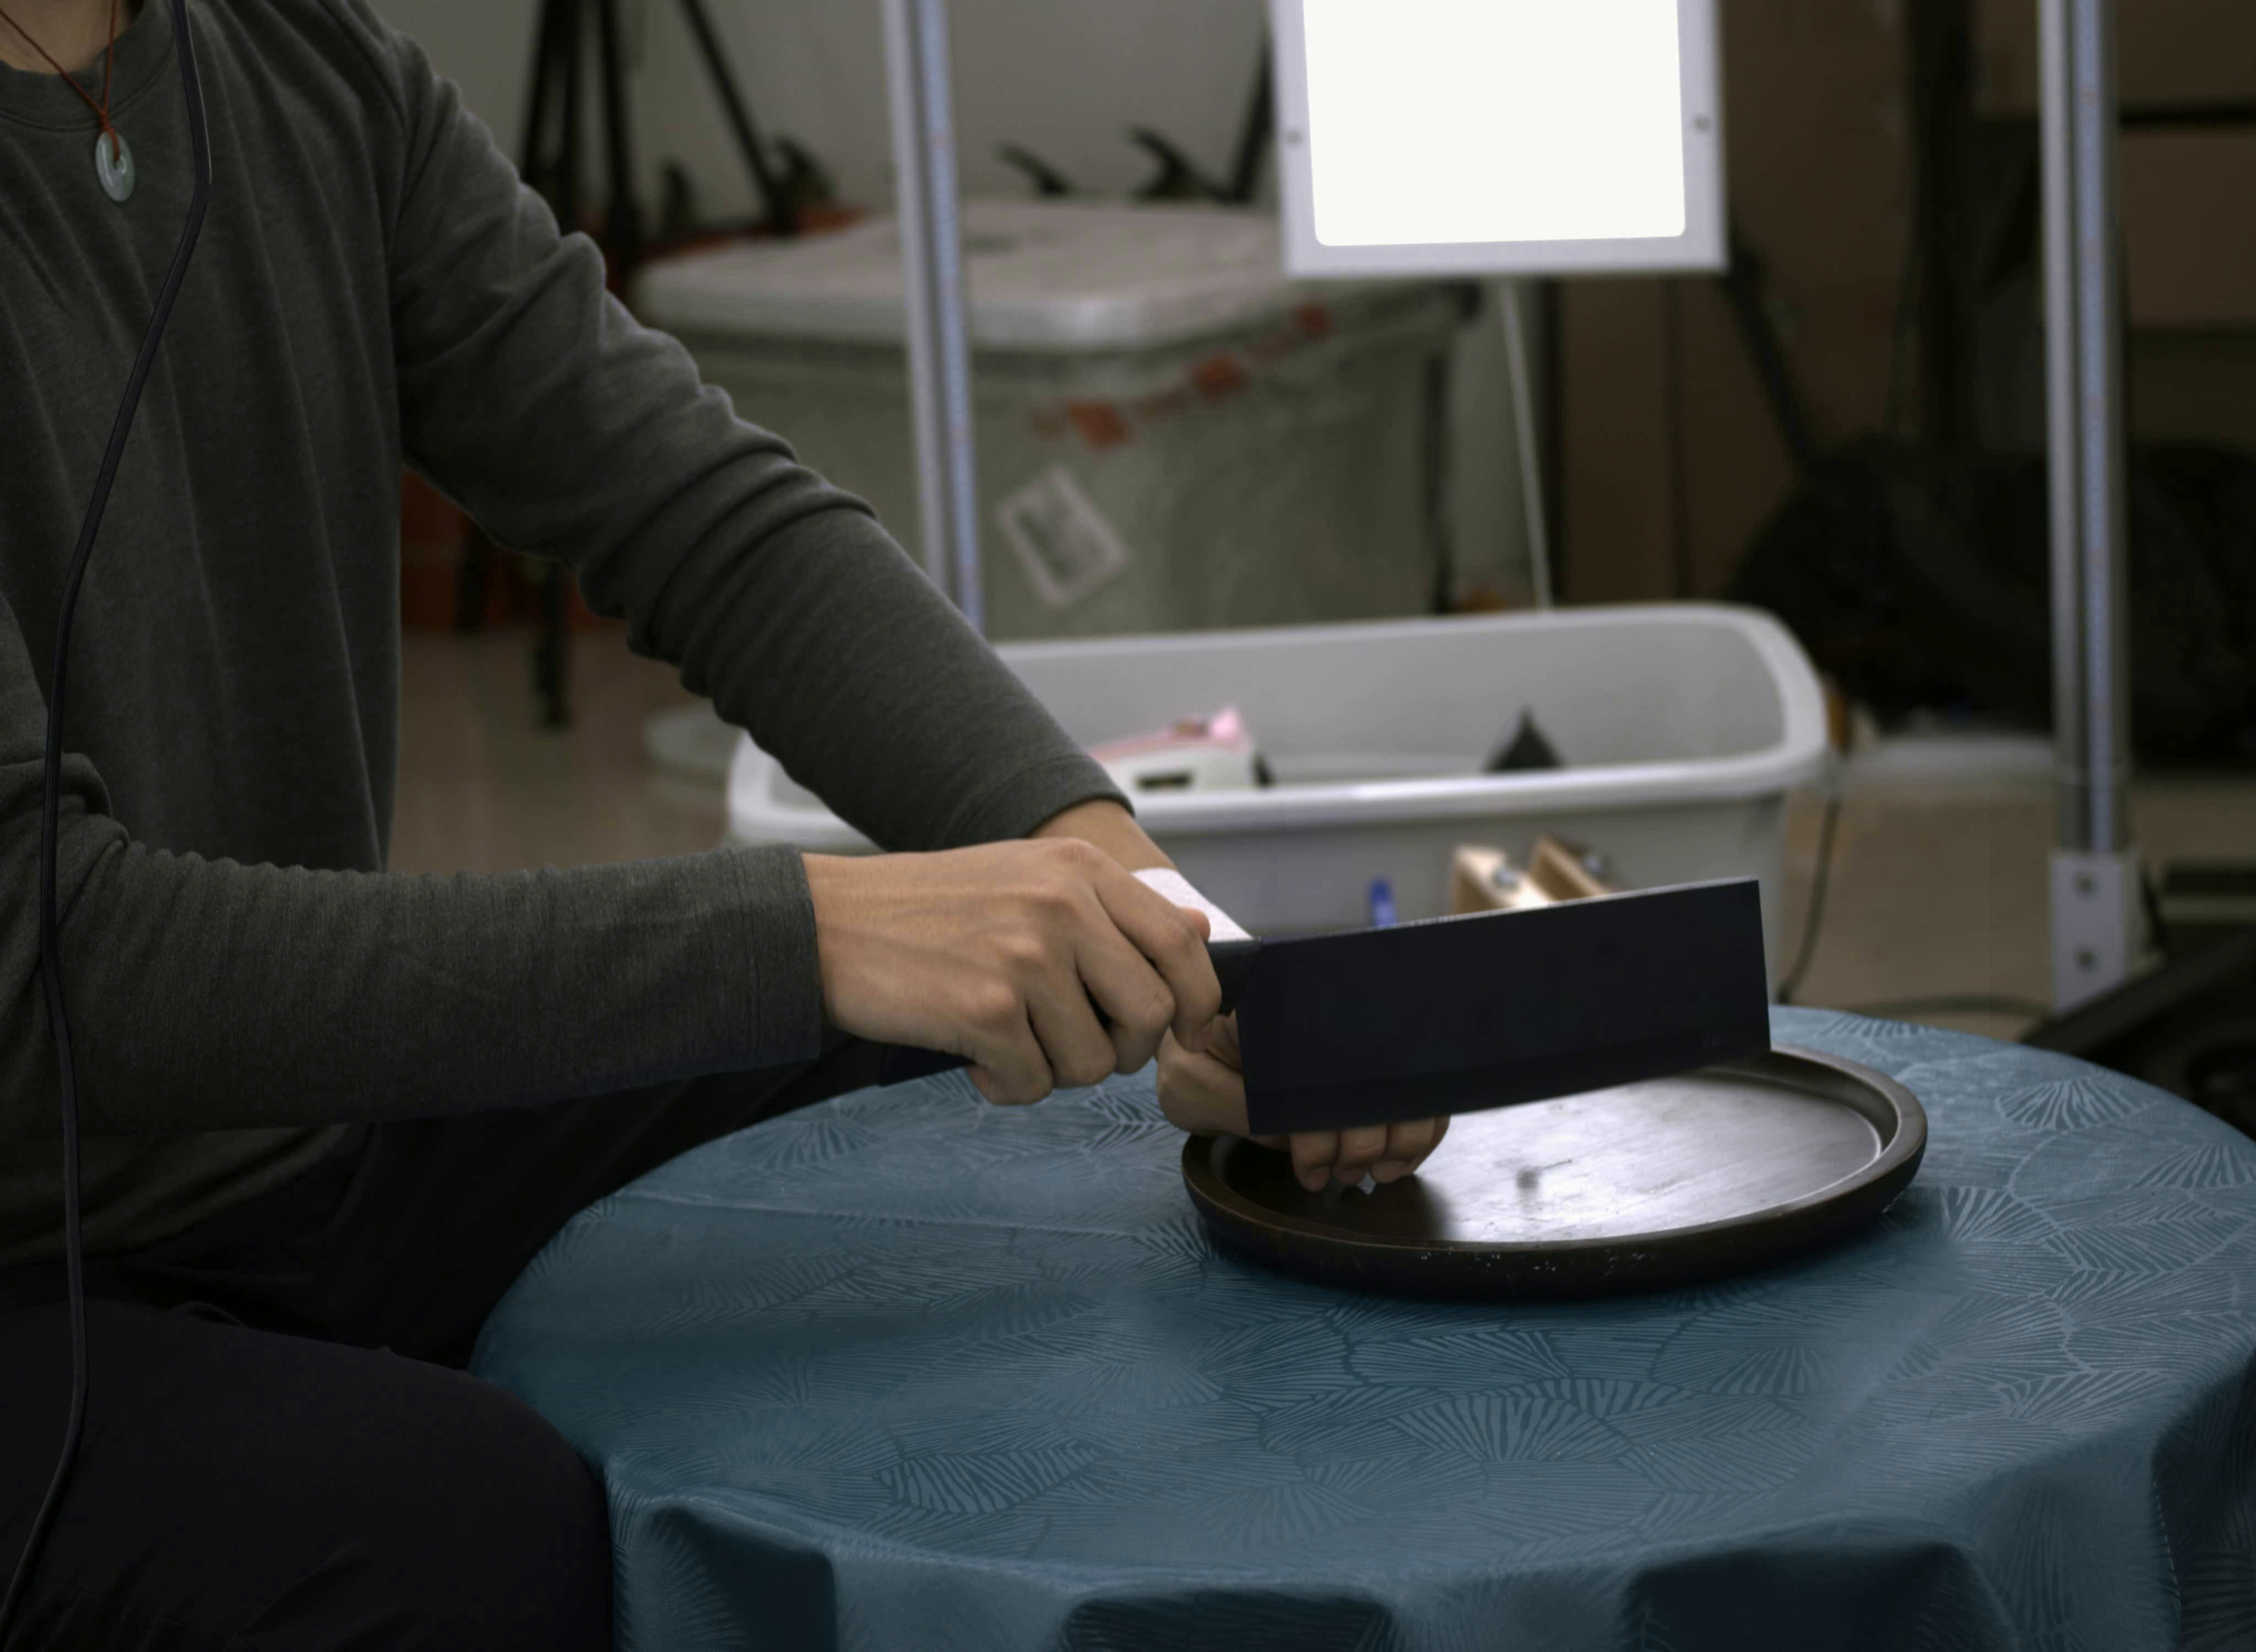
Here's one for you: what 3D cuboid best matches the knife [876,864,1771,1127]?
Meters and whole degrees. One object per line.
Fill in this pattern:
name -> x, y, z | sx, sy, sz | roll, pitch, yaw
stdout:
knife -> 0.066, 0.060, 1.816 | 0.300, 0.081, 0.021 | -4, 8, -6

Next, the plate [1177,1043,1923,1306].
plate -> 0.143, 0.114, 1.856 | 0.254, 0.029, 0.254 | -5, 15, 0
